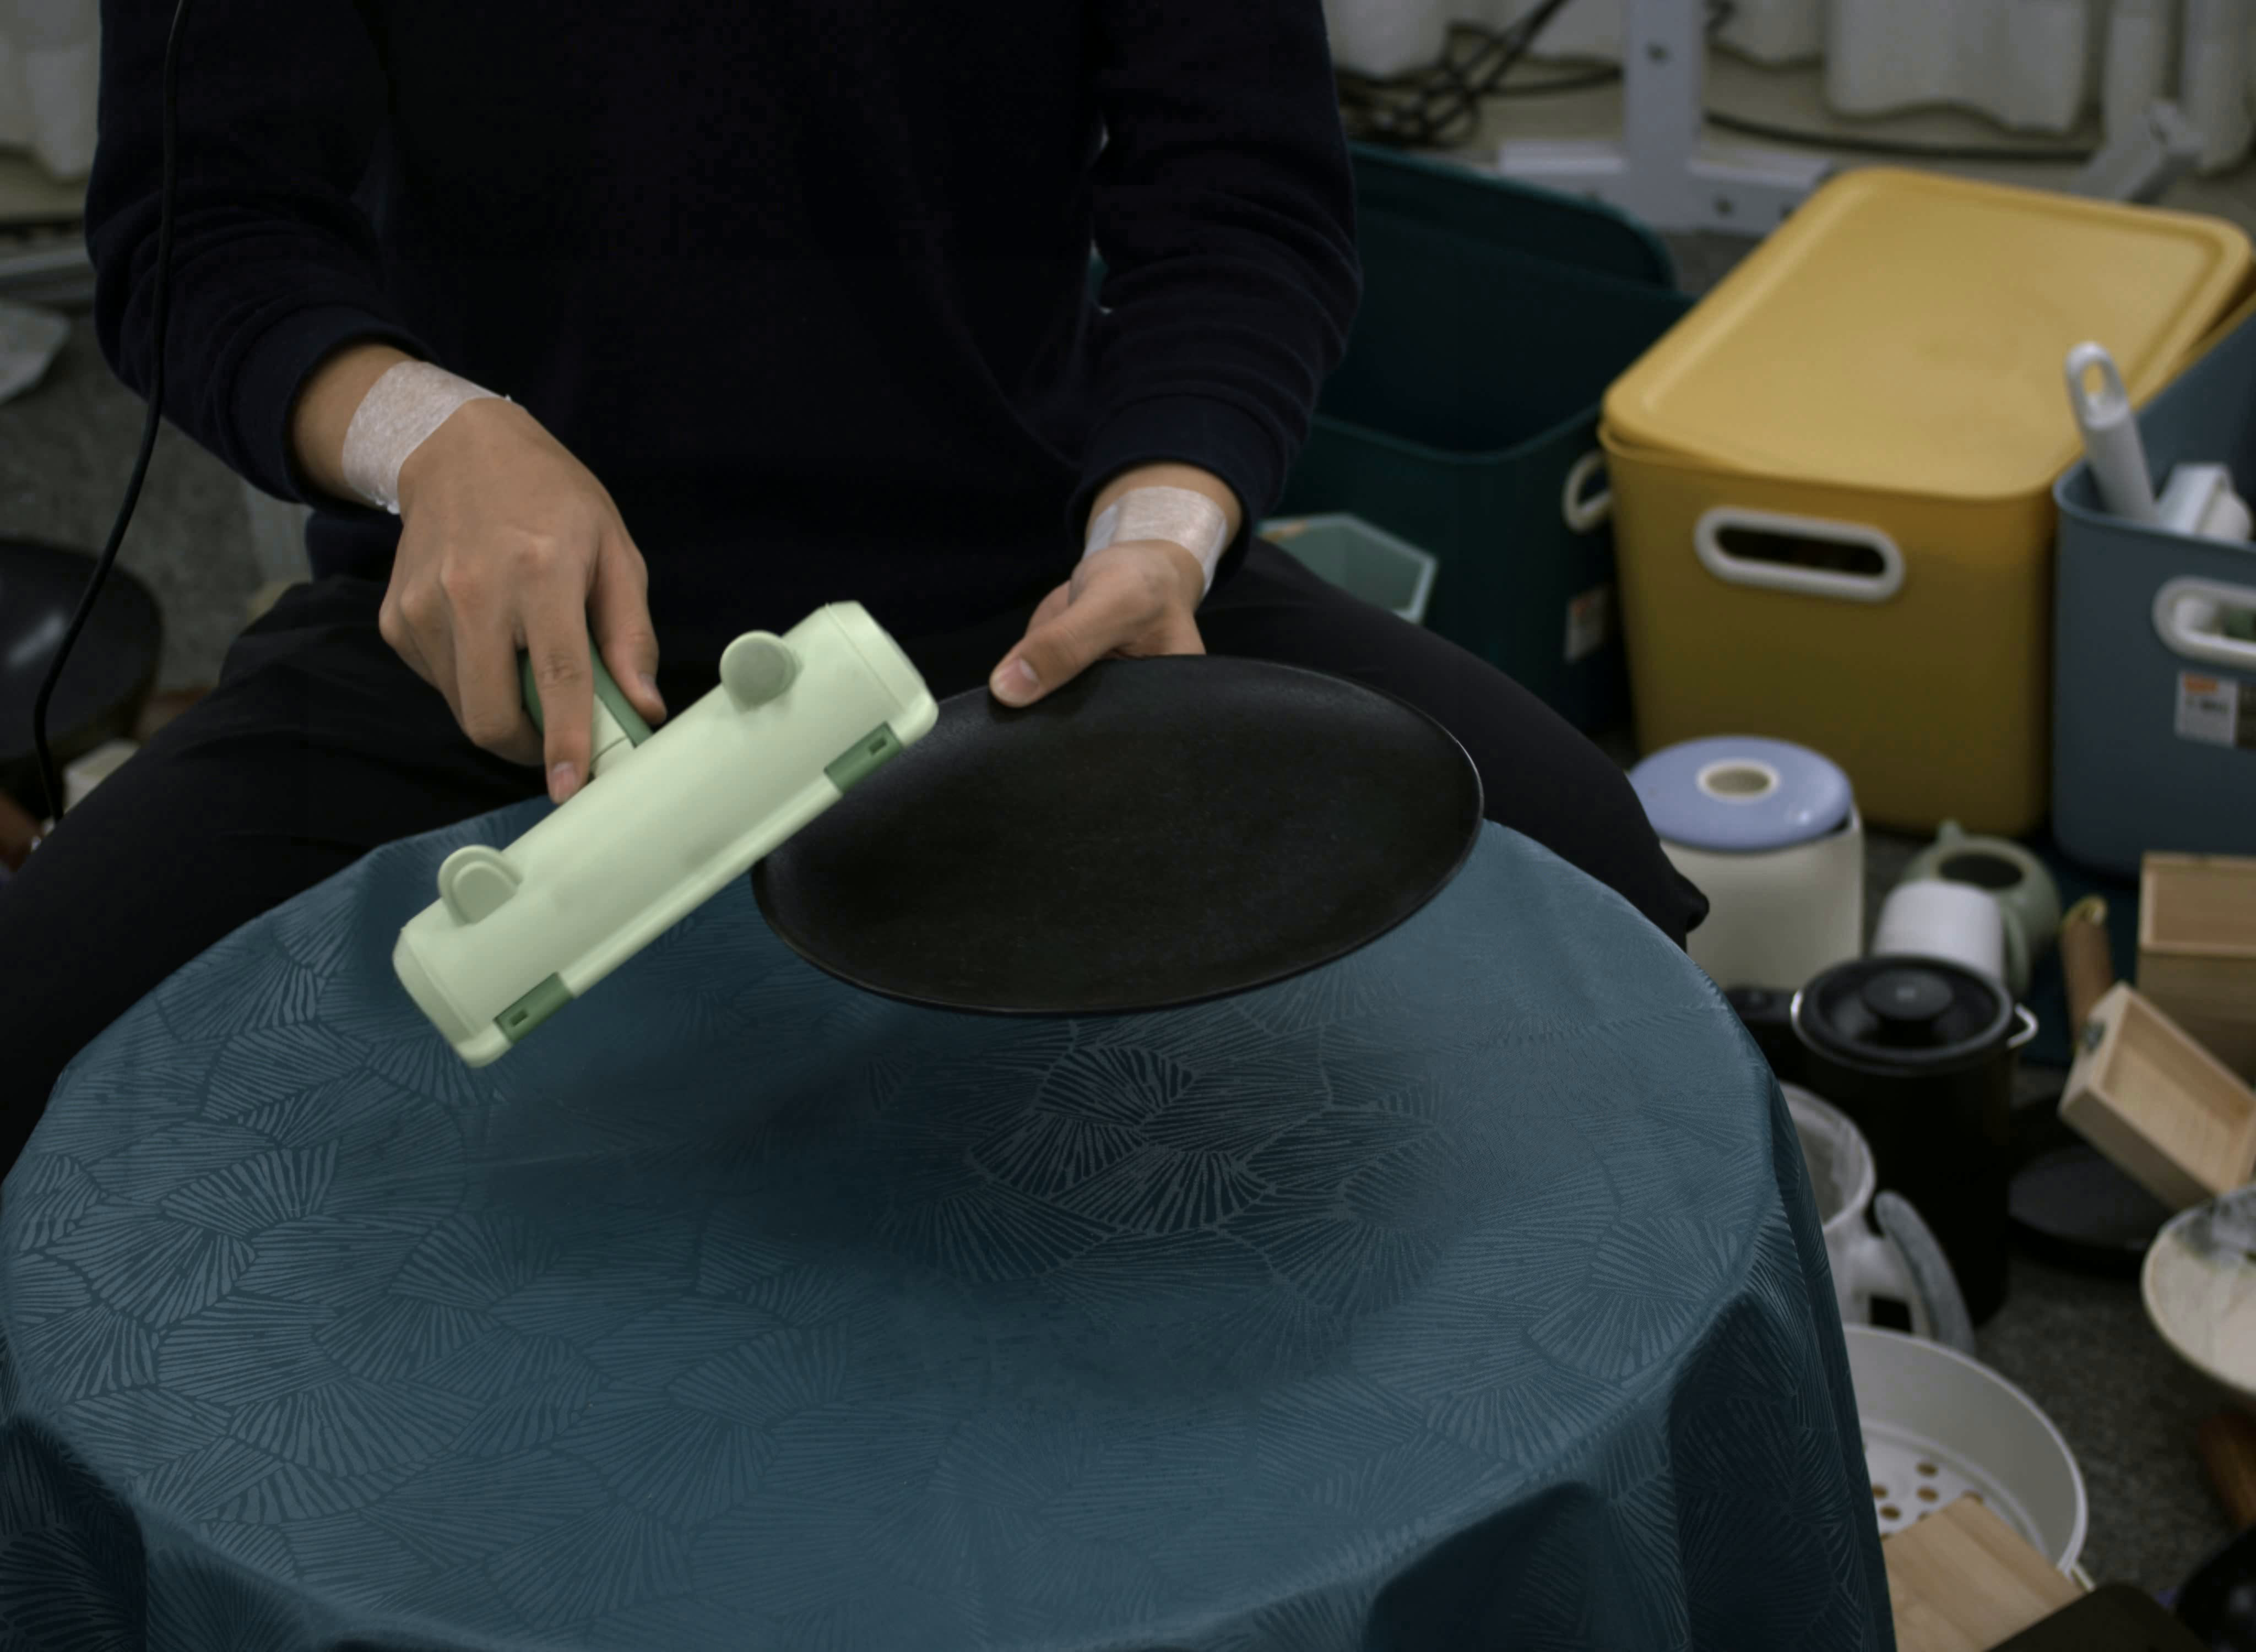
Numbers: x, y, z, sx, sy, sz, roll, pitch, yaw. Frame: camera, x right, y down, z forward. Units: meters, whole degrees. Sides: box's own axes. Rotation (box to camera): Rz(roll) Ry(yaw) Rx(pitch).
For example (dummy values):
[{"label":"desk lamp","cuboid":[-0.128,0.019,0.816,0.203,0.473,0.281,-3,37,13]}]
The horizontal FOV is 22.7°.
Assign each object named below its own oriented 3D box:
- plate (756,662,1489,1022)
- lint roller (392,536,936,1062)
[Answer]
[{"label":"plate","cuboid":[-0.001,0.009,1.858,0.243,0.023,0.248,-4,27,3]},{"label":"lint roller","cuboid":[-0.187,-0.043,1.884,0.199,0.081,0.185,-38,64,-3]}]
